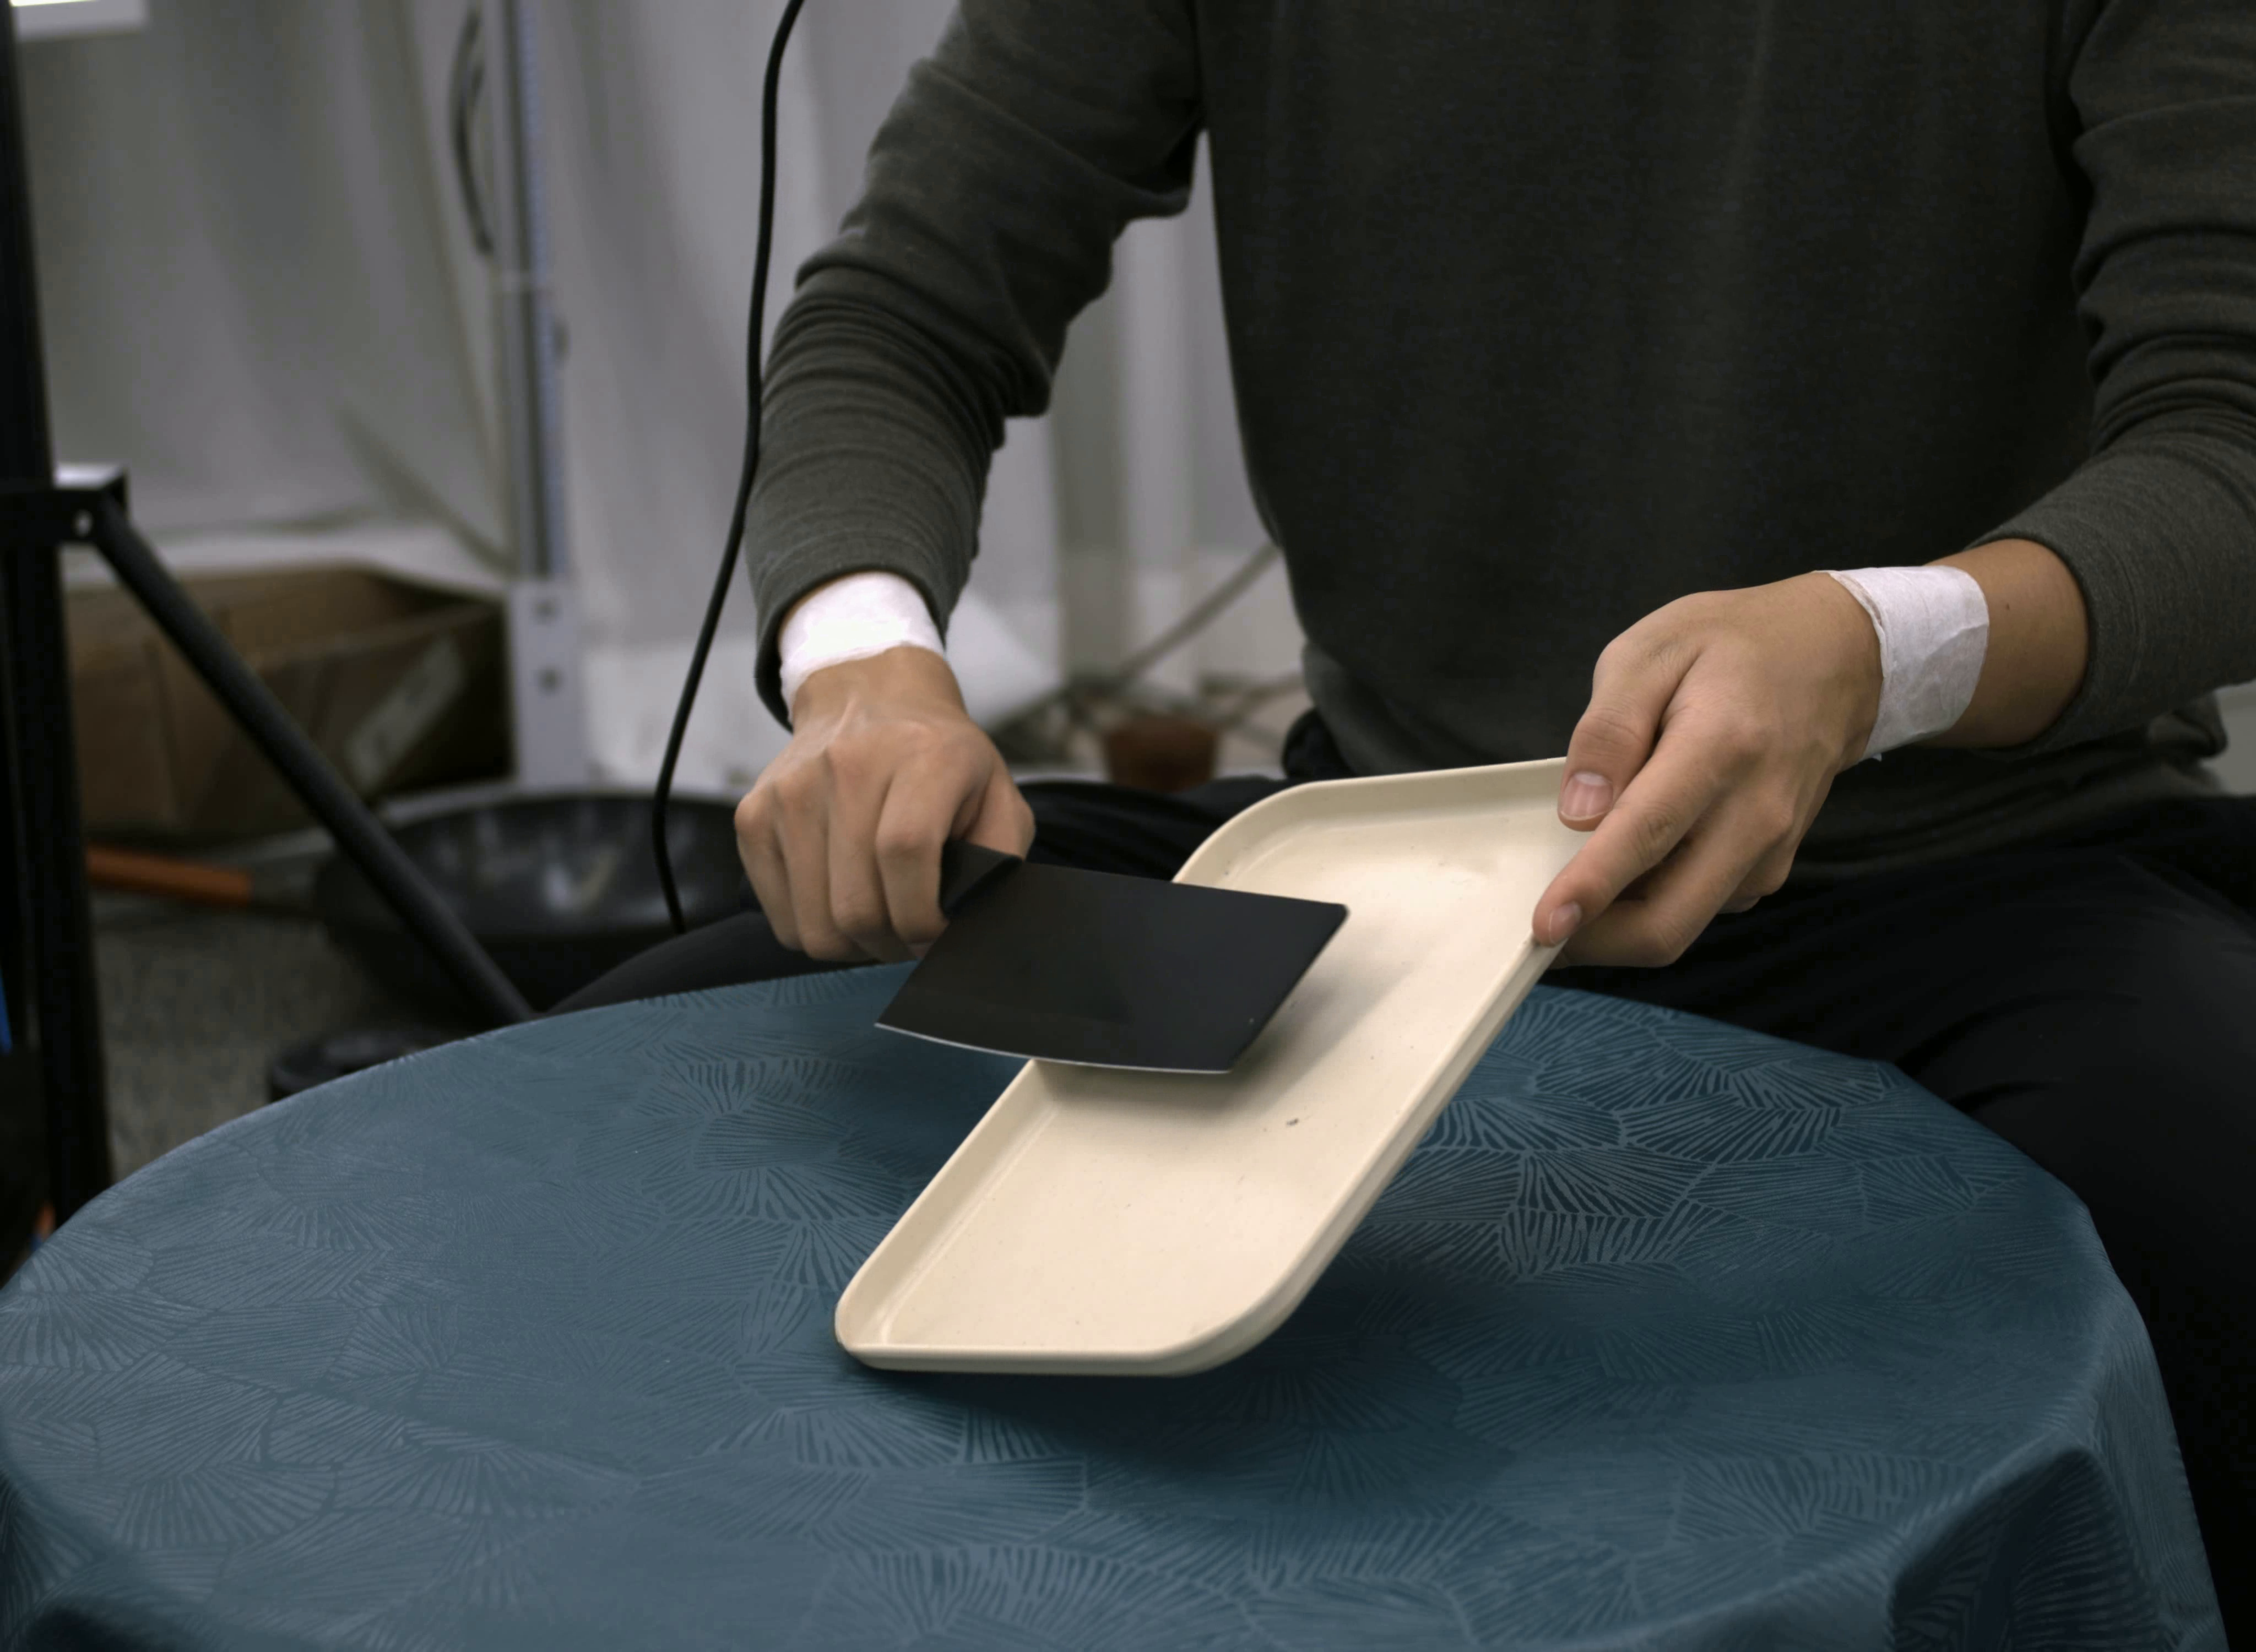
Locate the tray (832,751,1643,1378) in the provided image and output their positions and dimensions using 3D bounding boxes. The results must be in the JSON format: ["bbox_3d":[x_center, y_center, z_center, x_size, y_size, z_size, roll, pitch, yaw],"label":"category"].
[{"bbox_3d":[0.033,0.066,1.447,0.175,0.017,0.238,-4,38,47],"label":"tray"}]

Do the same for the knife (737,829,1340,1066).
[{"bbox_3d":[-0.038,0.033,1.567,0.080,0.020,0.308,-50,27,-15],"label":"knife"}]
